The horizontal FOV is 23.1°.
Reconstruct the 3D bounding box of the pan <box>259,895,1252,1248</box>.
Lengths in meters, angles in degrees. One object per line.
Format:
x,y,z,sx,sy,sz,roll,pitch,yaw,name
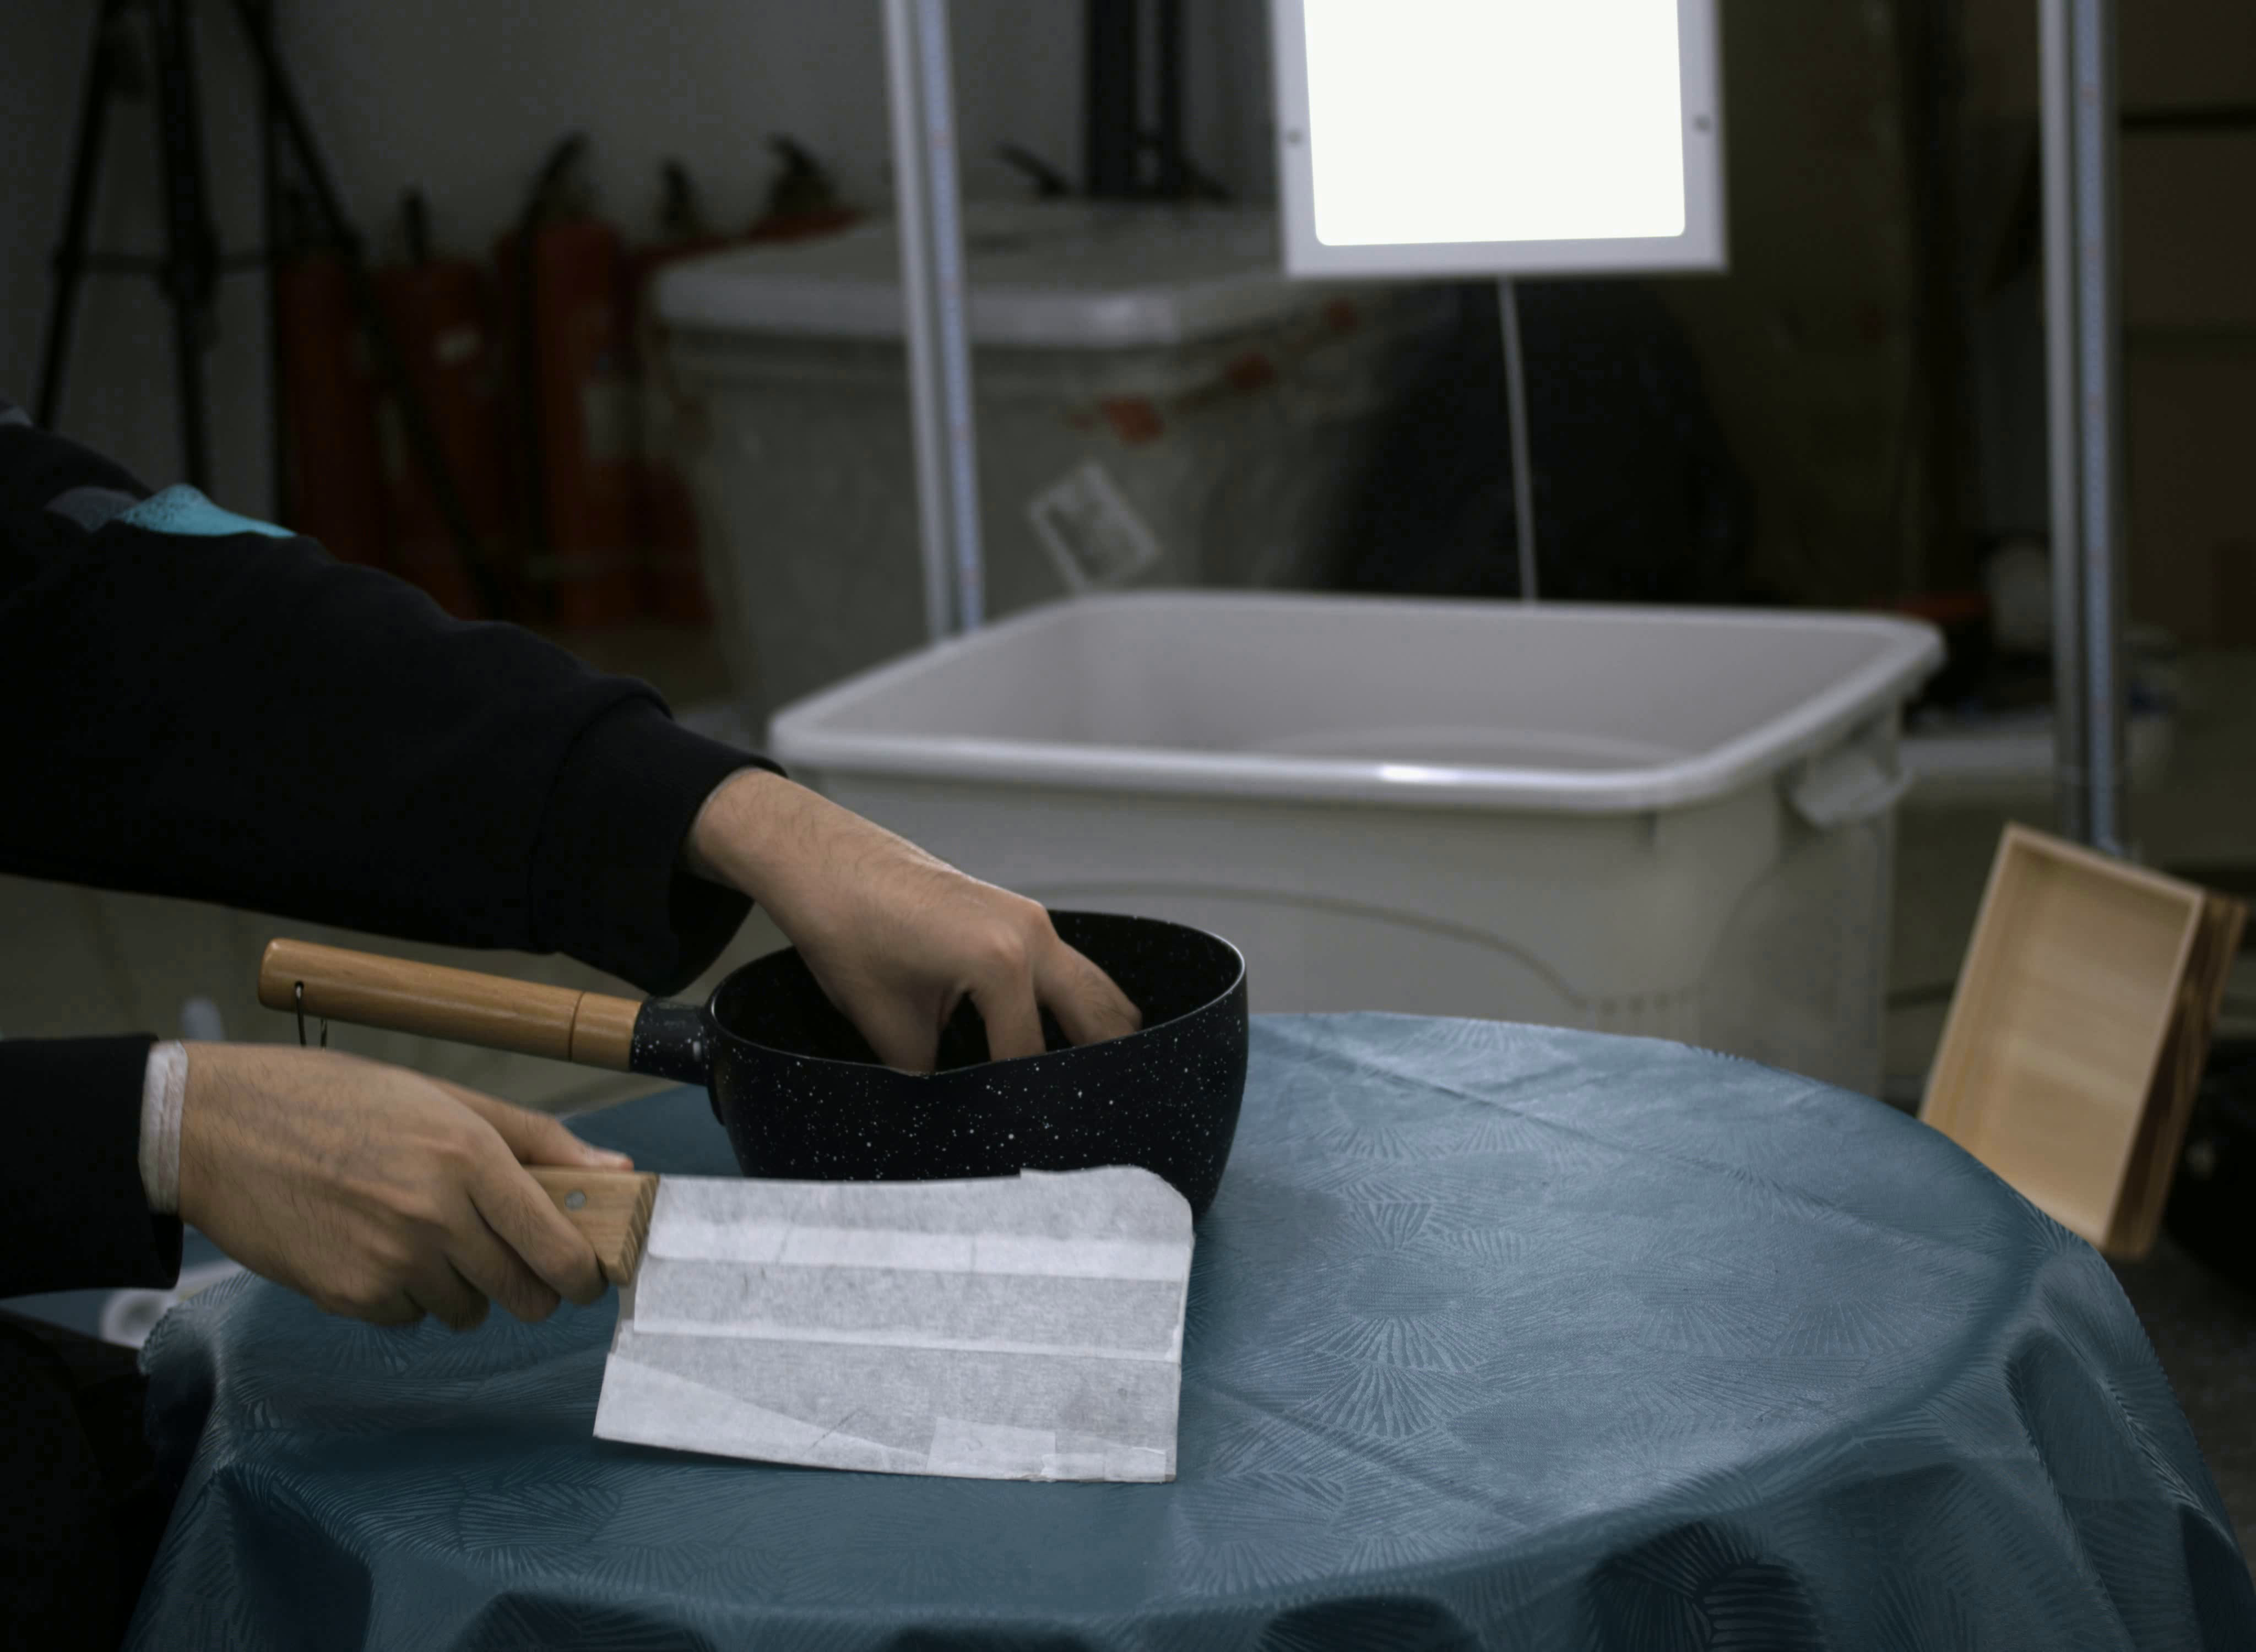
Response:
-0.127,0.085,1.882,0.344,0.108,0.206,-2,15,7,pan

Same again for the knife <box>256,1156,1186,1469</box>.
-0.125,0.142,1.694,0.319,0.113,0.021,4,-26,21,knife
